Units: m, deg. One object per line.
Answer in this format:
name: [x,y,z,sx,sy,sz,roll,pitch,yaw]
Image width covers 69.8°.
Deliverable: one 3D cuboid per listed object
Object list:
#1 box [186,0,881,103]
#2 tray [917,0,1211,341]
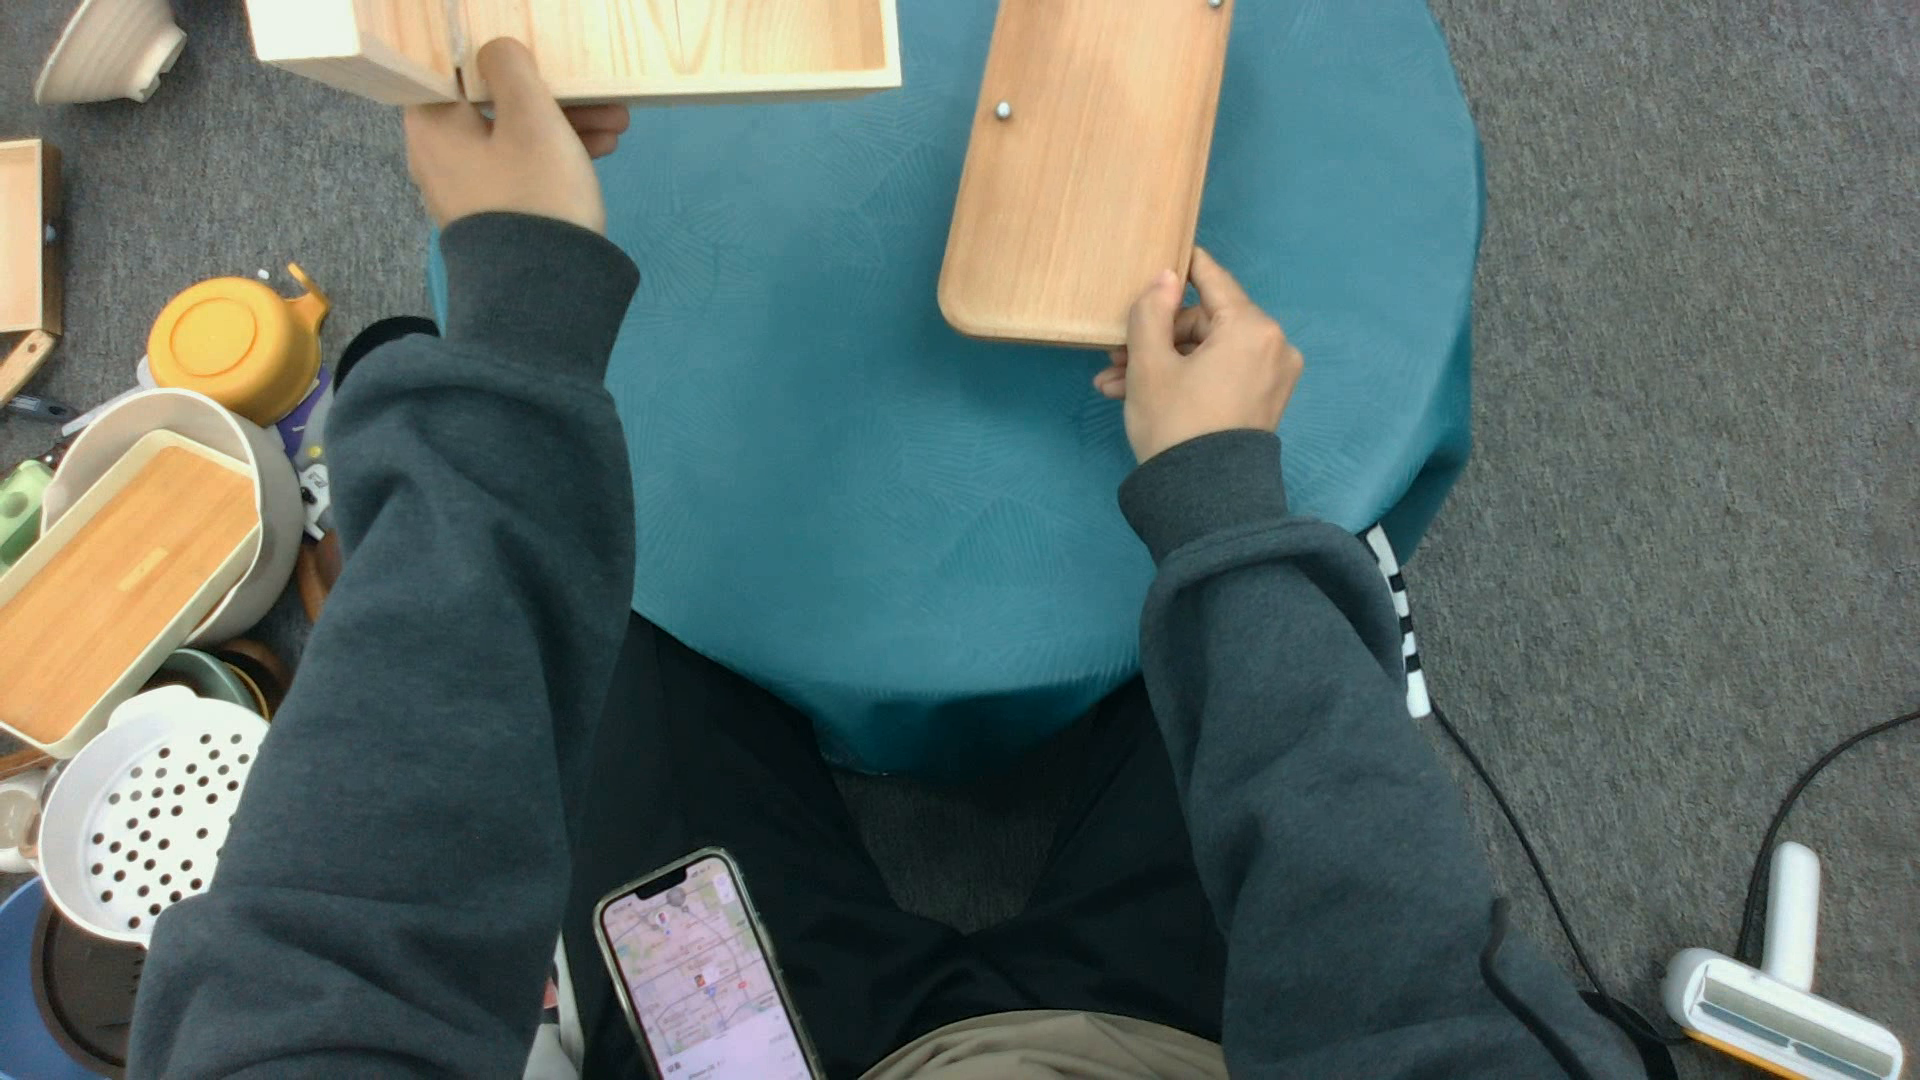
box: [-0.133,-0.257,0.493,0.266,0.253,0.181,-11,110,-22]
tray: [0.058,-0.218,0.723,0.130,0.023,0.251,5,72,19]
